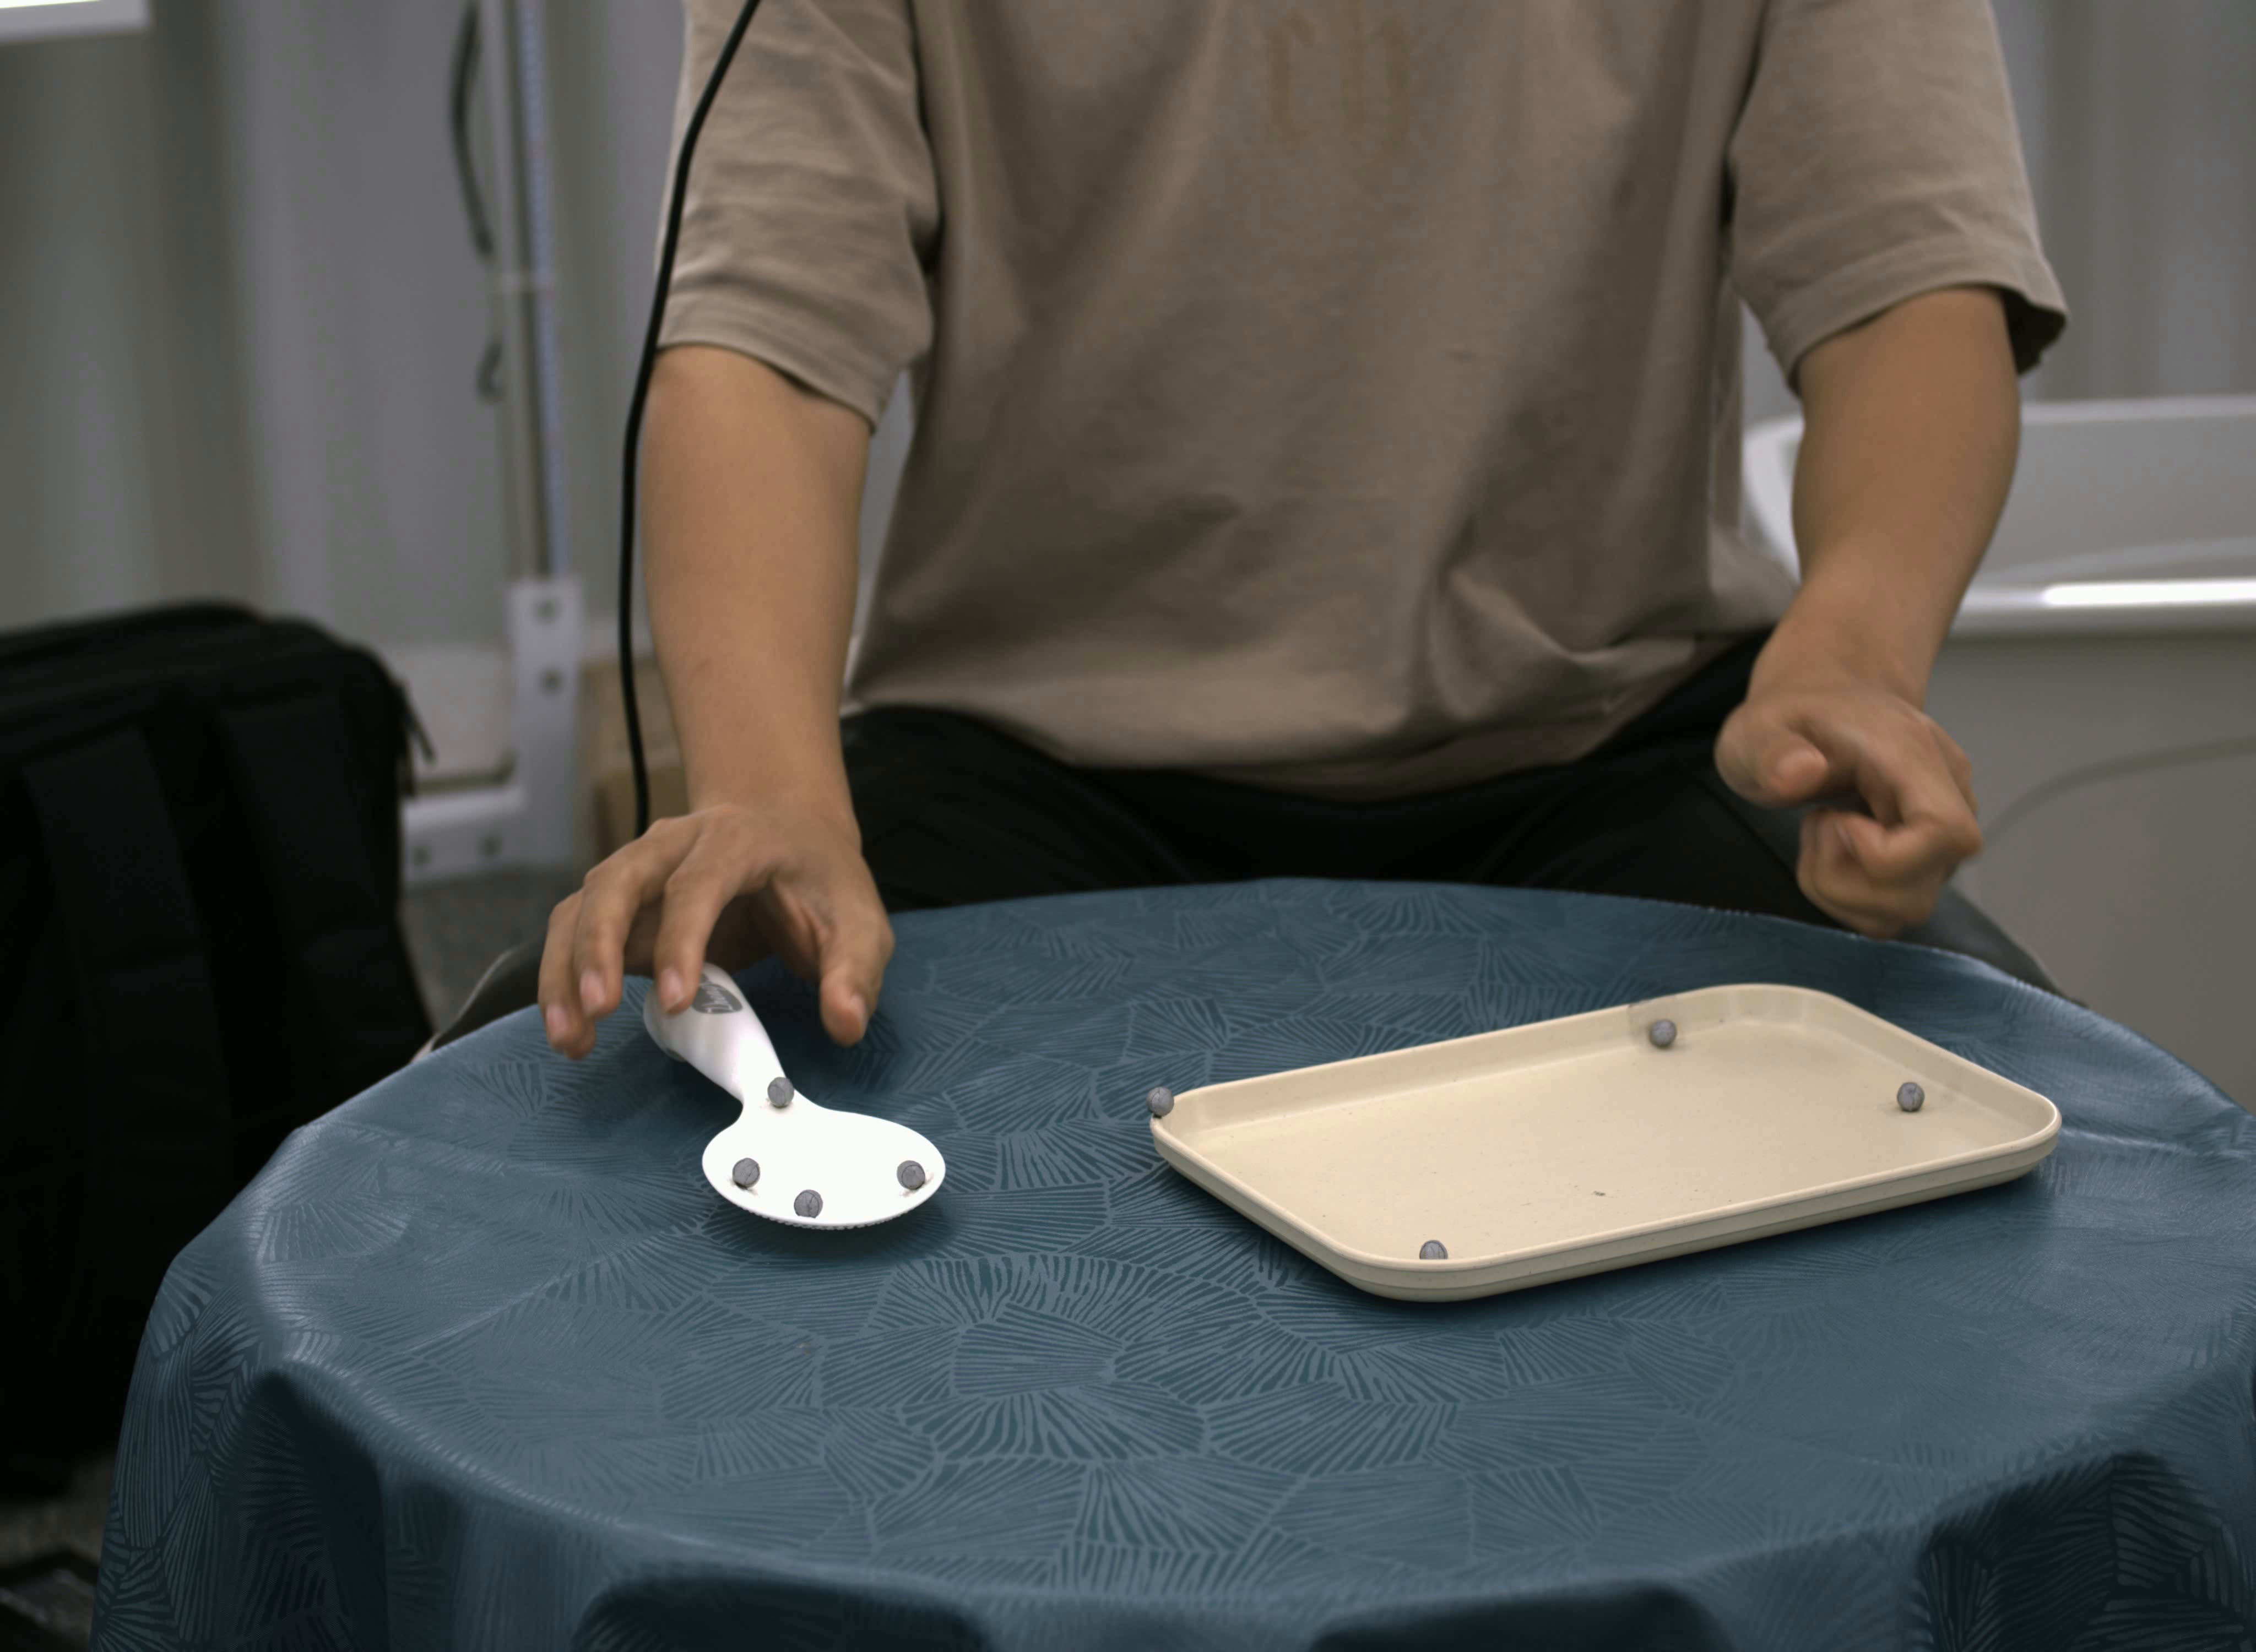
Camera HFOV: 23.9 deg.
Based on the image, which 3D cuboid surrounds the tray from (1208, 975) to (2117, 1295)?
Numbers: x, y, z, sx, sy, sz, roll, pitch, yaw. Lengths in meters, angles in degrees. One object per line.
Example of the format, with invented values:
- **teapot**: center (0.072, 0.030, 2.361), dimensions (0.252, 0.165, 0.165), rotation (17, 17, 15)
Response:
- **tray**: center (0.157, 0.090, 1.553), dimensions (0.235, 0.017, 0.175), rotation (-9, 18, -23)

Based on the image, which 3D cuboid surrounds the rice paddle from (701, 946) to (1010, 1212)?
- **rice paddle**: center (-0.088, 0.078, 1.602), dimensions (0.067, 0.029, 0.208), rotation (-9, 17, -16)
